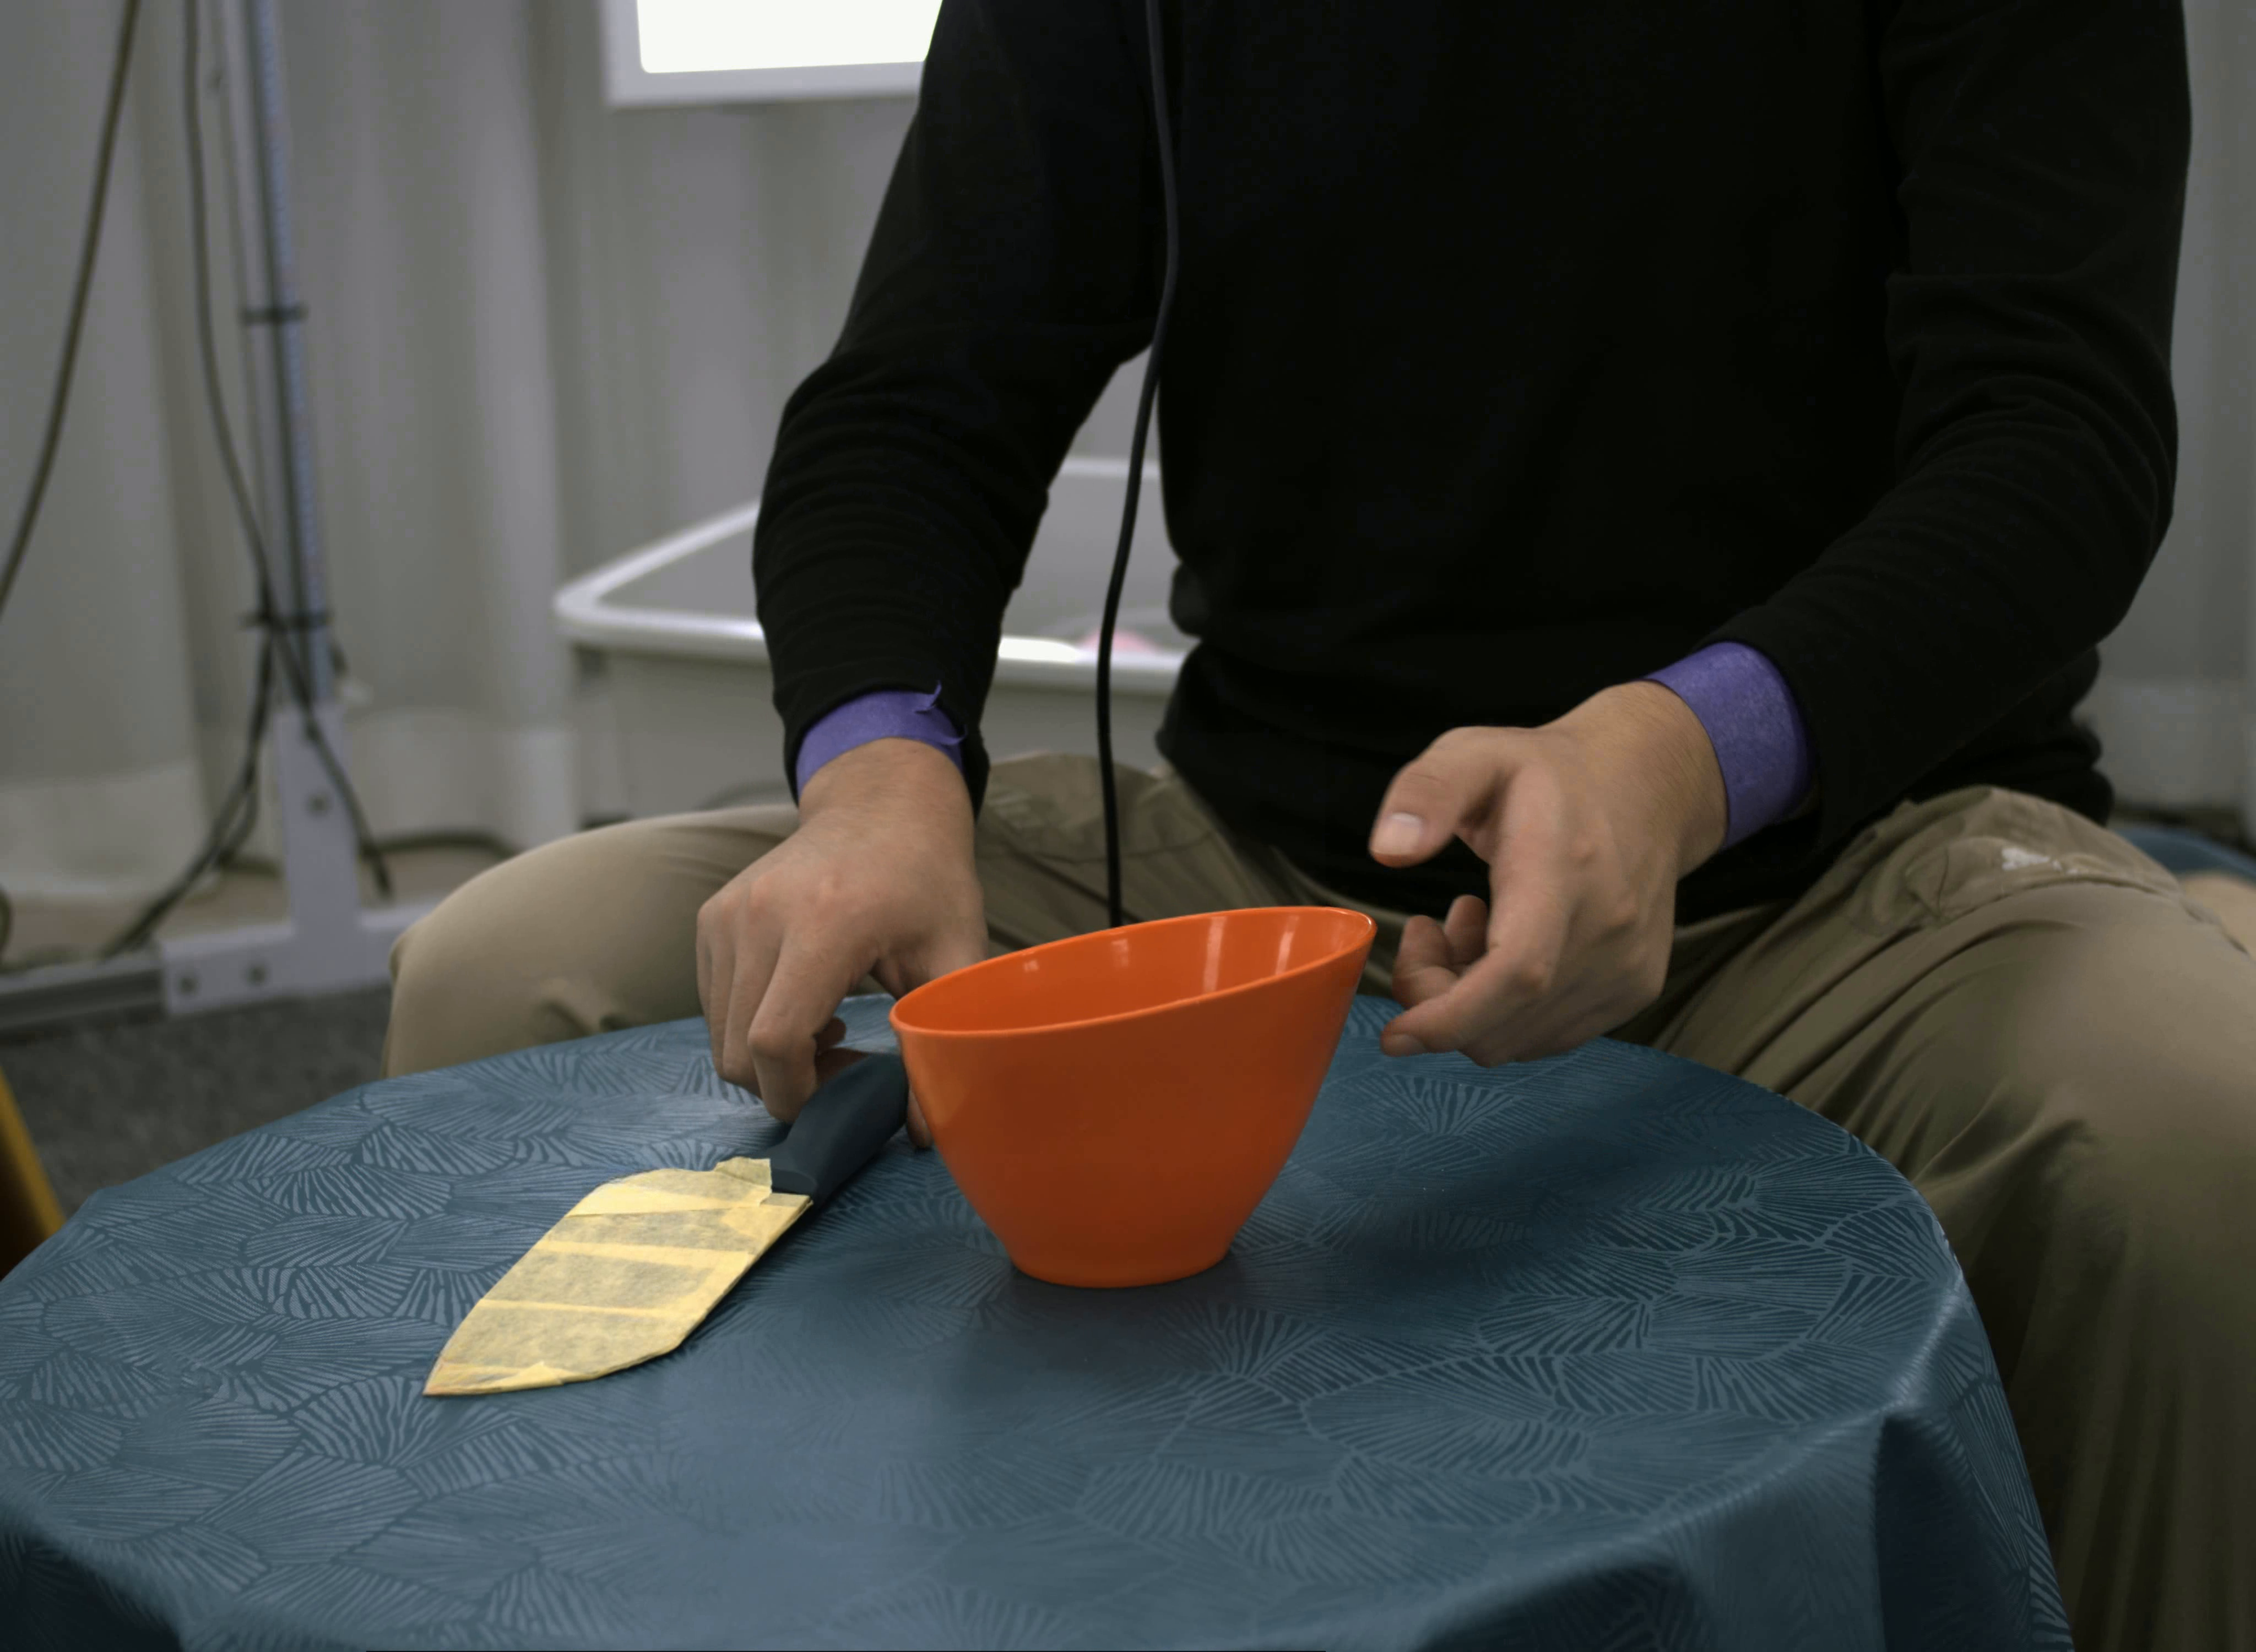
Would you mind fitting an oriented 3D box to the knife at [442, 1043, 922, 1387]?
[{"bbox_3d":[-0.133,0.120,1.693,0.081,0.027,0.290,6,18,20],"label":"knife"}]

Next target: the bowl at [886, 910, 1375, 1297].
[{"bbox_3d":[0.003,0.083,1.638,0.147,0.104,0.149,-4,14,1],"label":"bowl"}]
